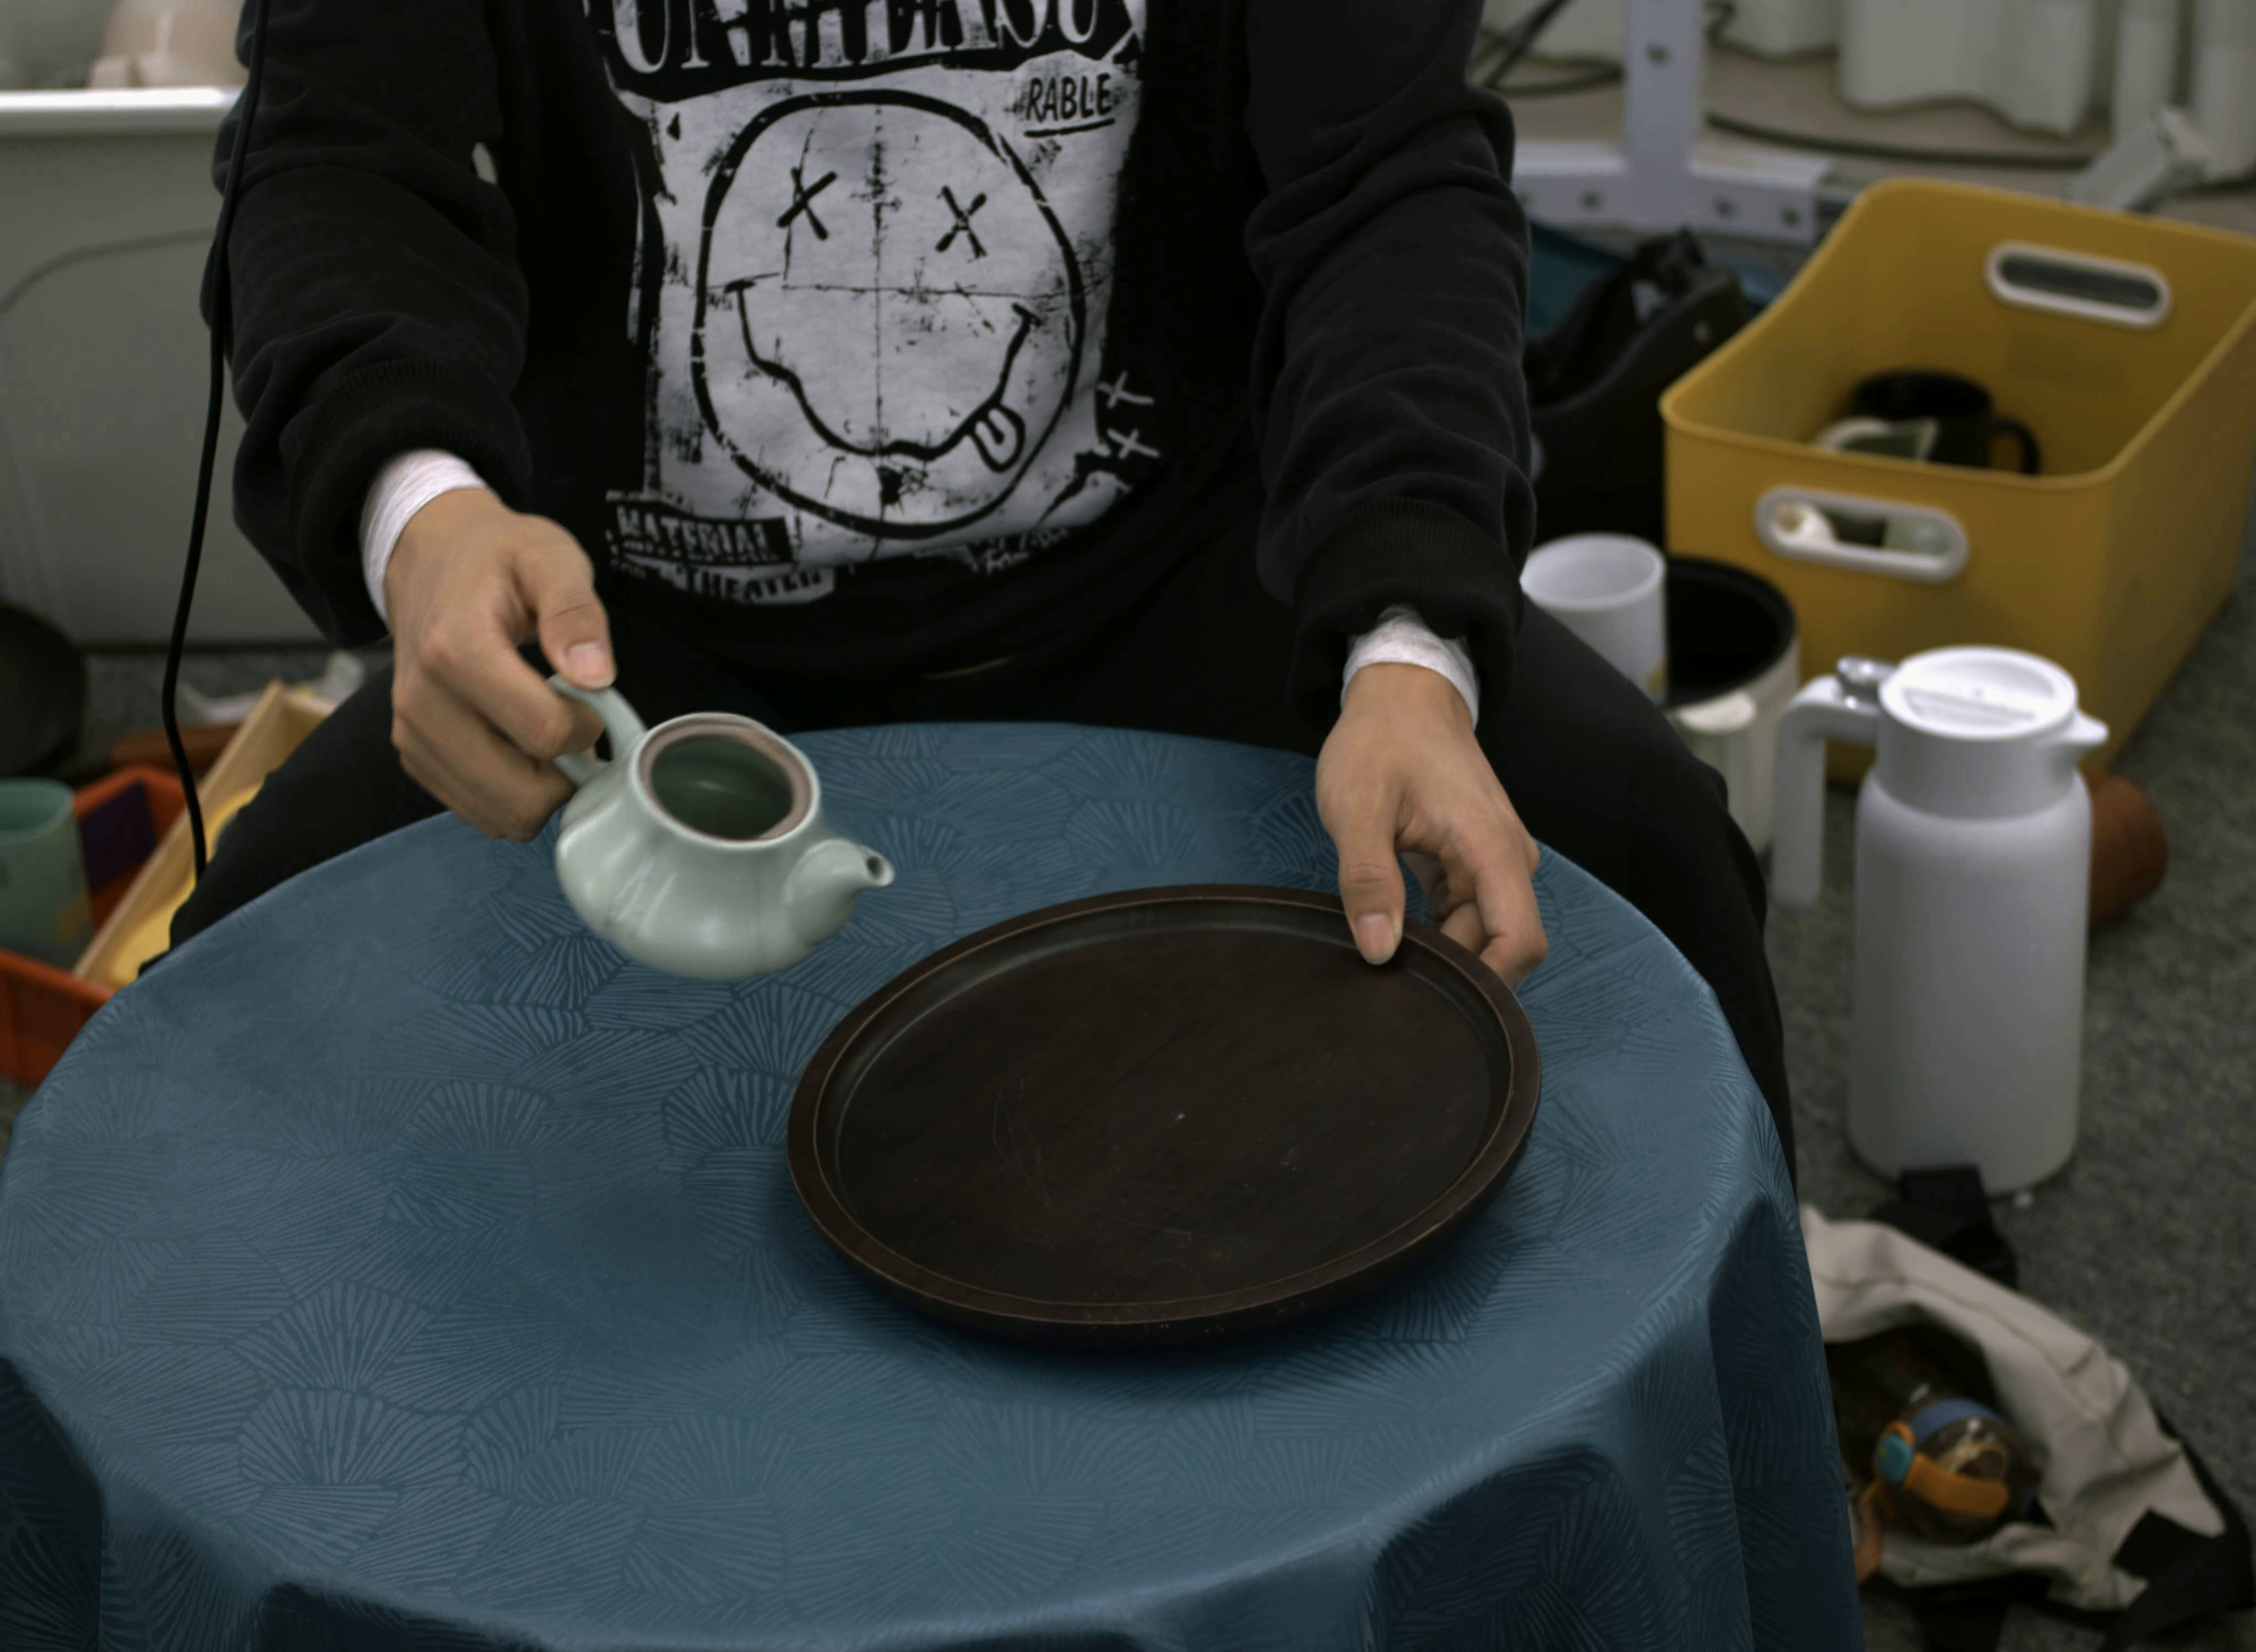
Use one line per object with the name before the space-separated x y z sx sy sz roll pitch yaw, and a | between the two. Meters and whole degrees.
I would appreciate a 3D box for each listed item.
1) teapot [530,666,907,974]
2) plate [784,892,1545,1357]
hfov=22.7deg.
teapot | -0.137 -0.002 1.818 0.137 0.060 0.098 31 43 10
plate | 0.012 0.096 1.860 0.253 0.028 0.259 -5 32 4
